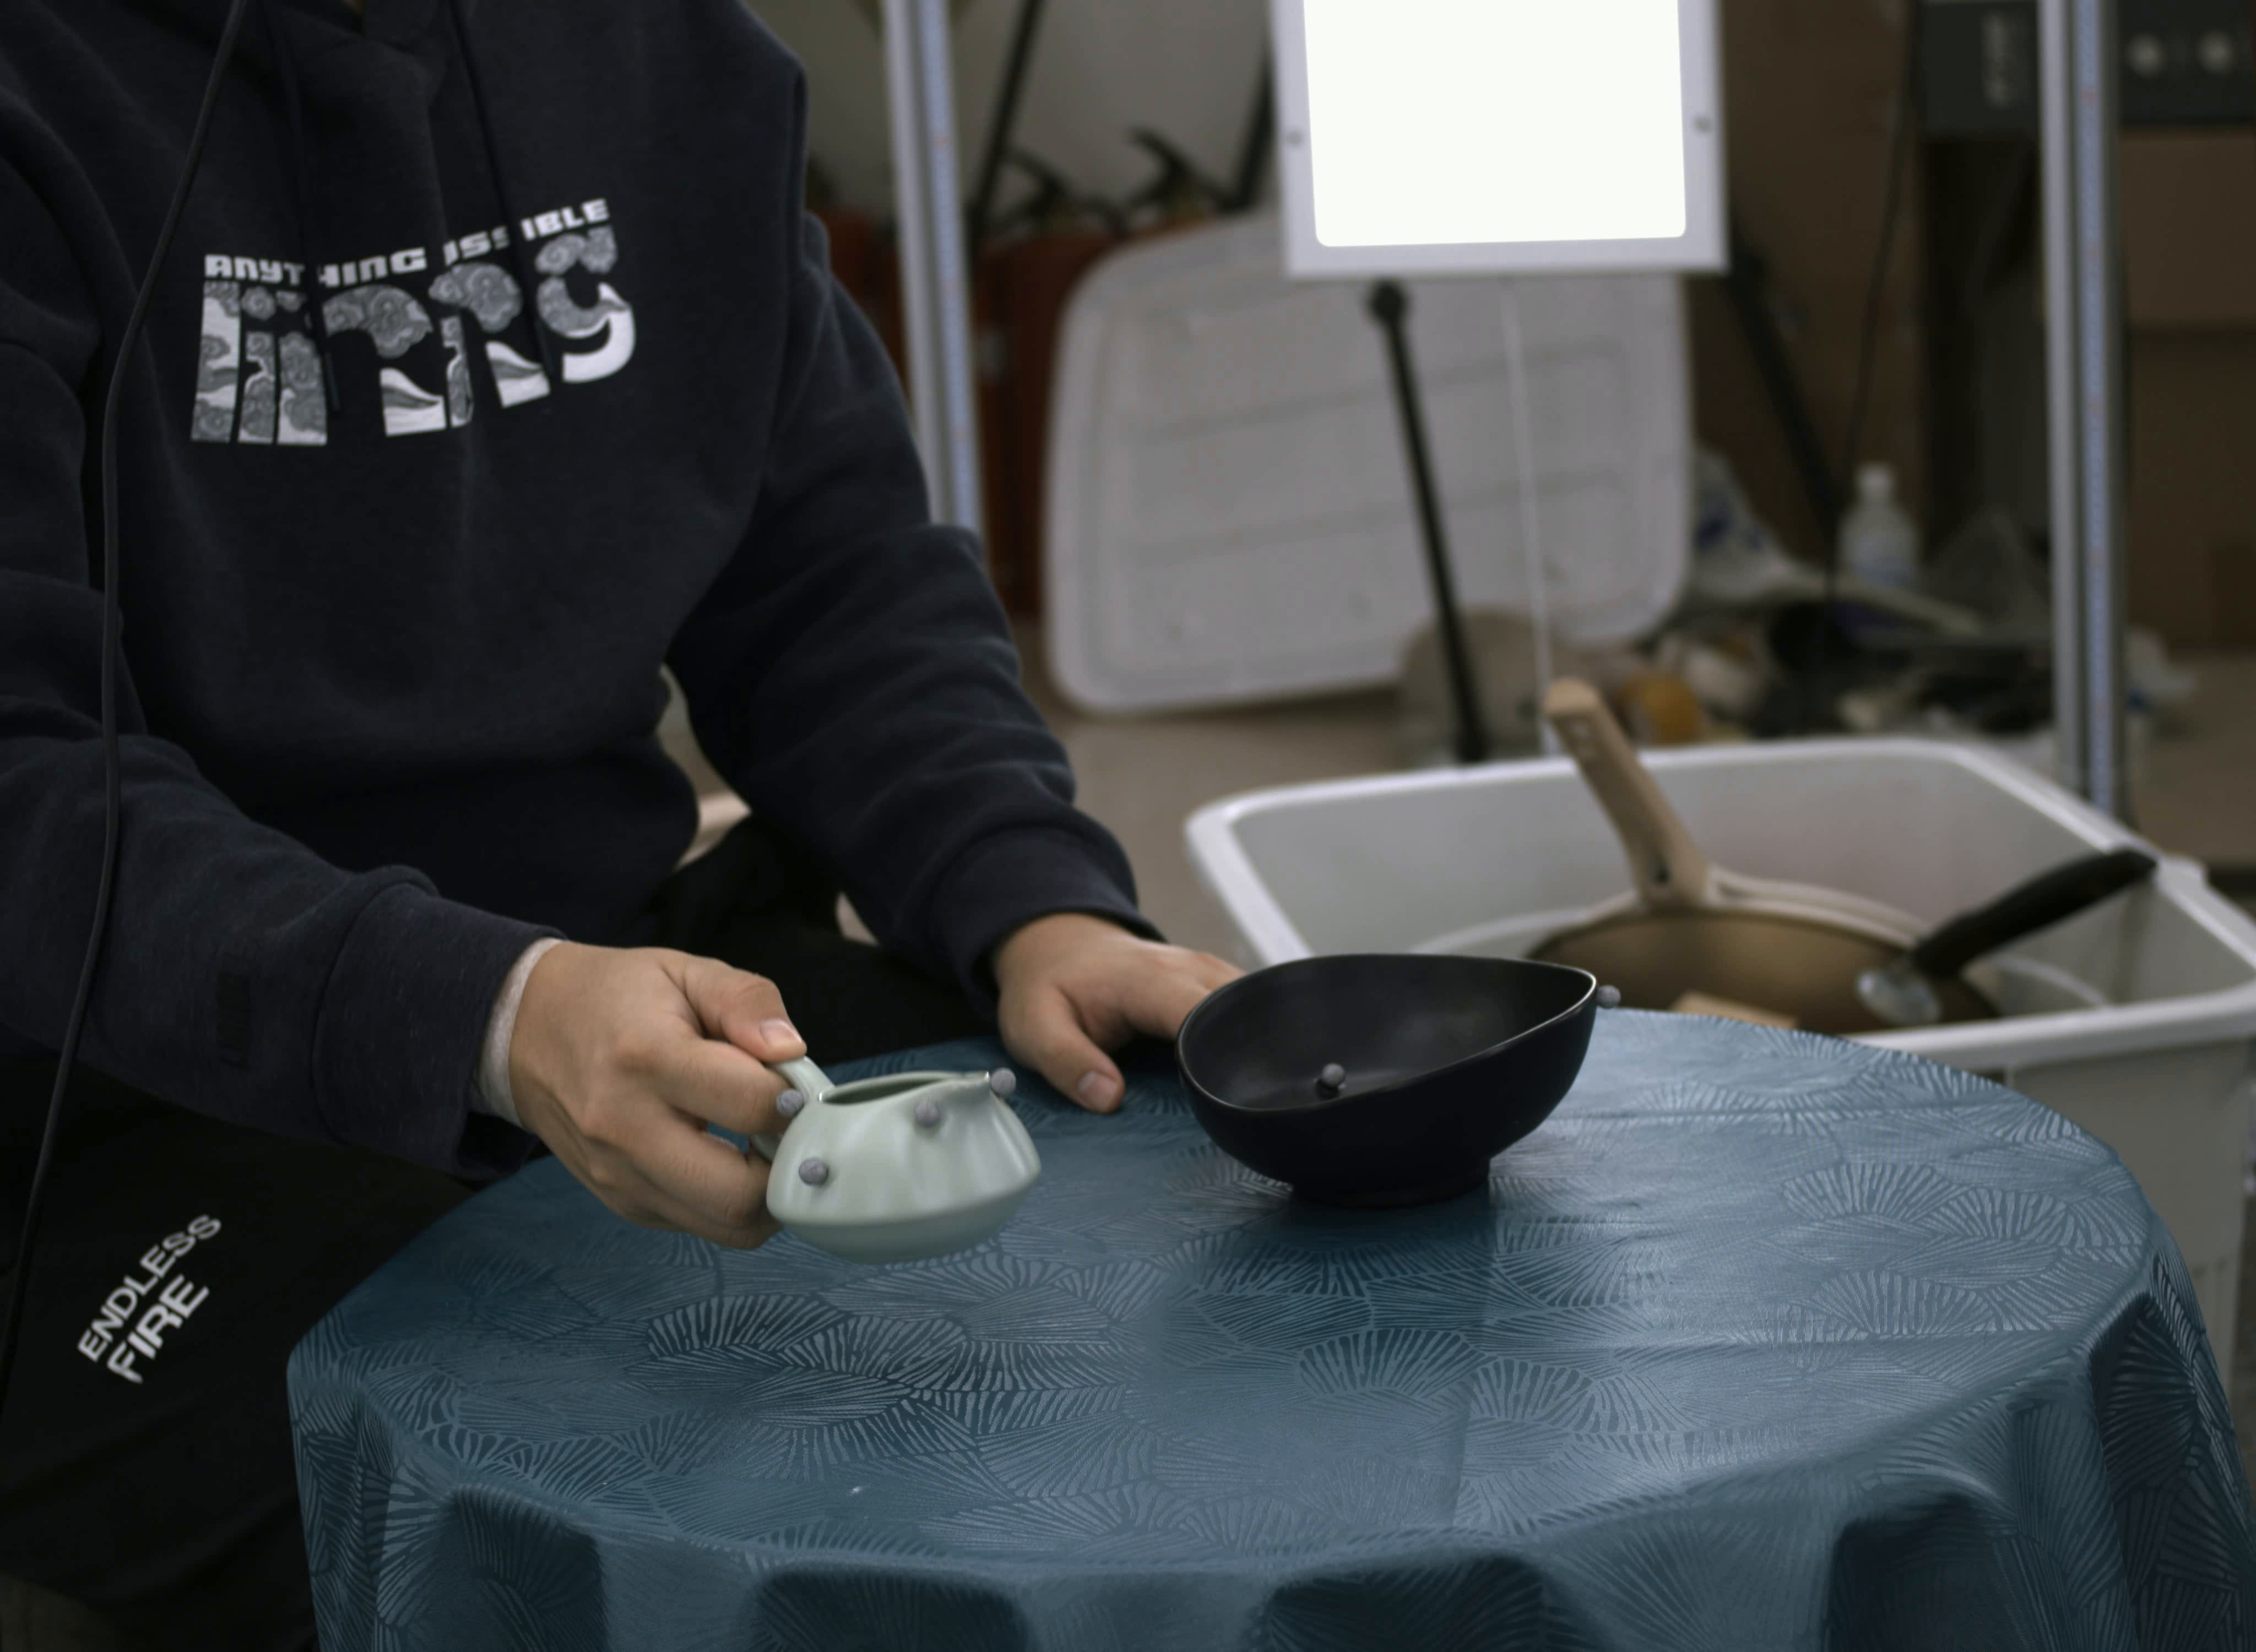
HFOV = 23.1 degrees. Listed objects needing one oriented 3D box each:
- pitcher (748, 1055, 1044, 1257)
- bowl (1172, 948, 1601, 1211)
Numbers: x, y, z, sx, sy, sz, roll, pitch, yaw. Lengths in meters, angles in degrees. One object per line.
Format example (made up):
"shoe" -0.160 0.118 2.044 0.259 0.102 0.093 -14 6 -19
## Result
"pitcher" -0.079 0.102 1.721 0.110 0.060 0.084 -2 9 43
"bowl" 0.091 0.091 1.882 0.140 0.067 0.166 4 17 35
